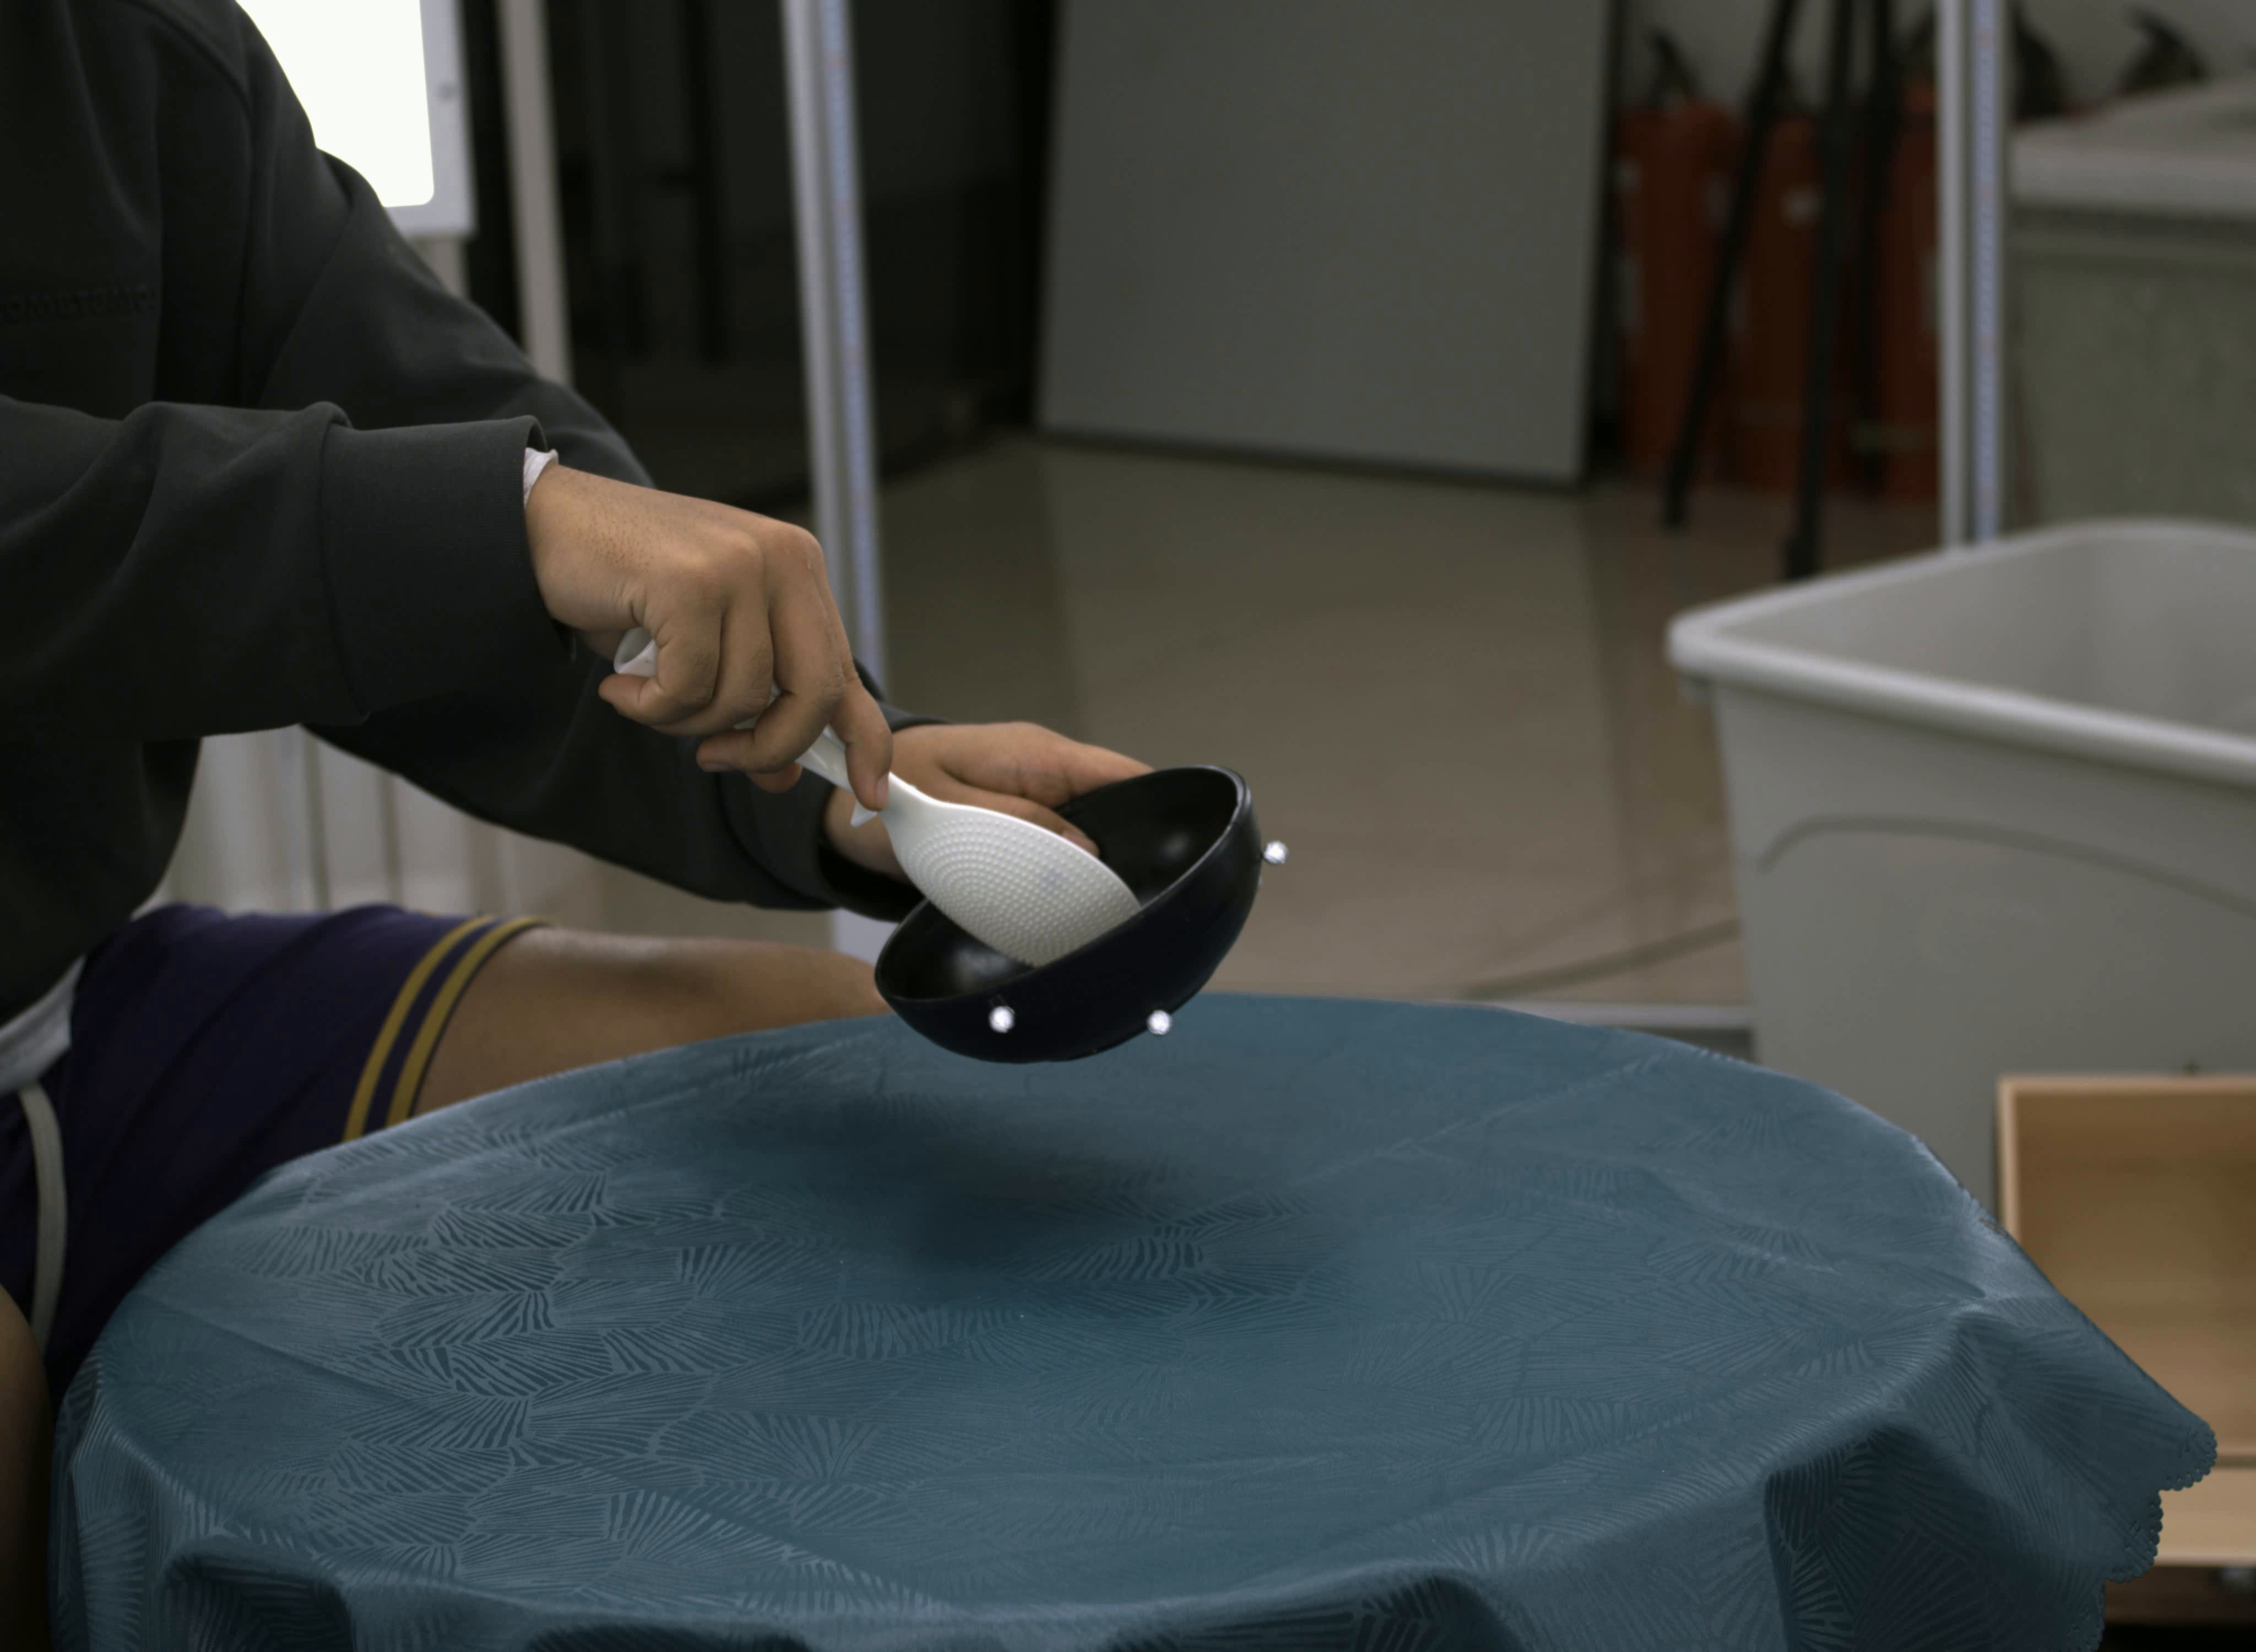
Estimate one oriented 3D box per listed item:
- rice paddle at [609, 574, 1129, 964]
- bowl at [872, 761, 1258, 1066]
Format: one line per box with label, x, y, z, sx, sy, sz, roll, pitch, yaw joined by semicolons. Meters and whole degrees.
rice paddle;-0.078;-0.011;1.728;0.069;0.202;0.029;-30;31;45
bowl;-0.012;0.037;1.756;0.139;0.050;0.140;-28;17;8
